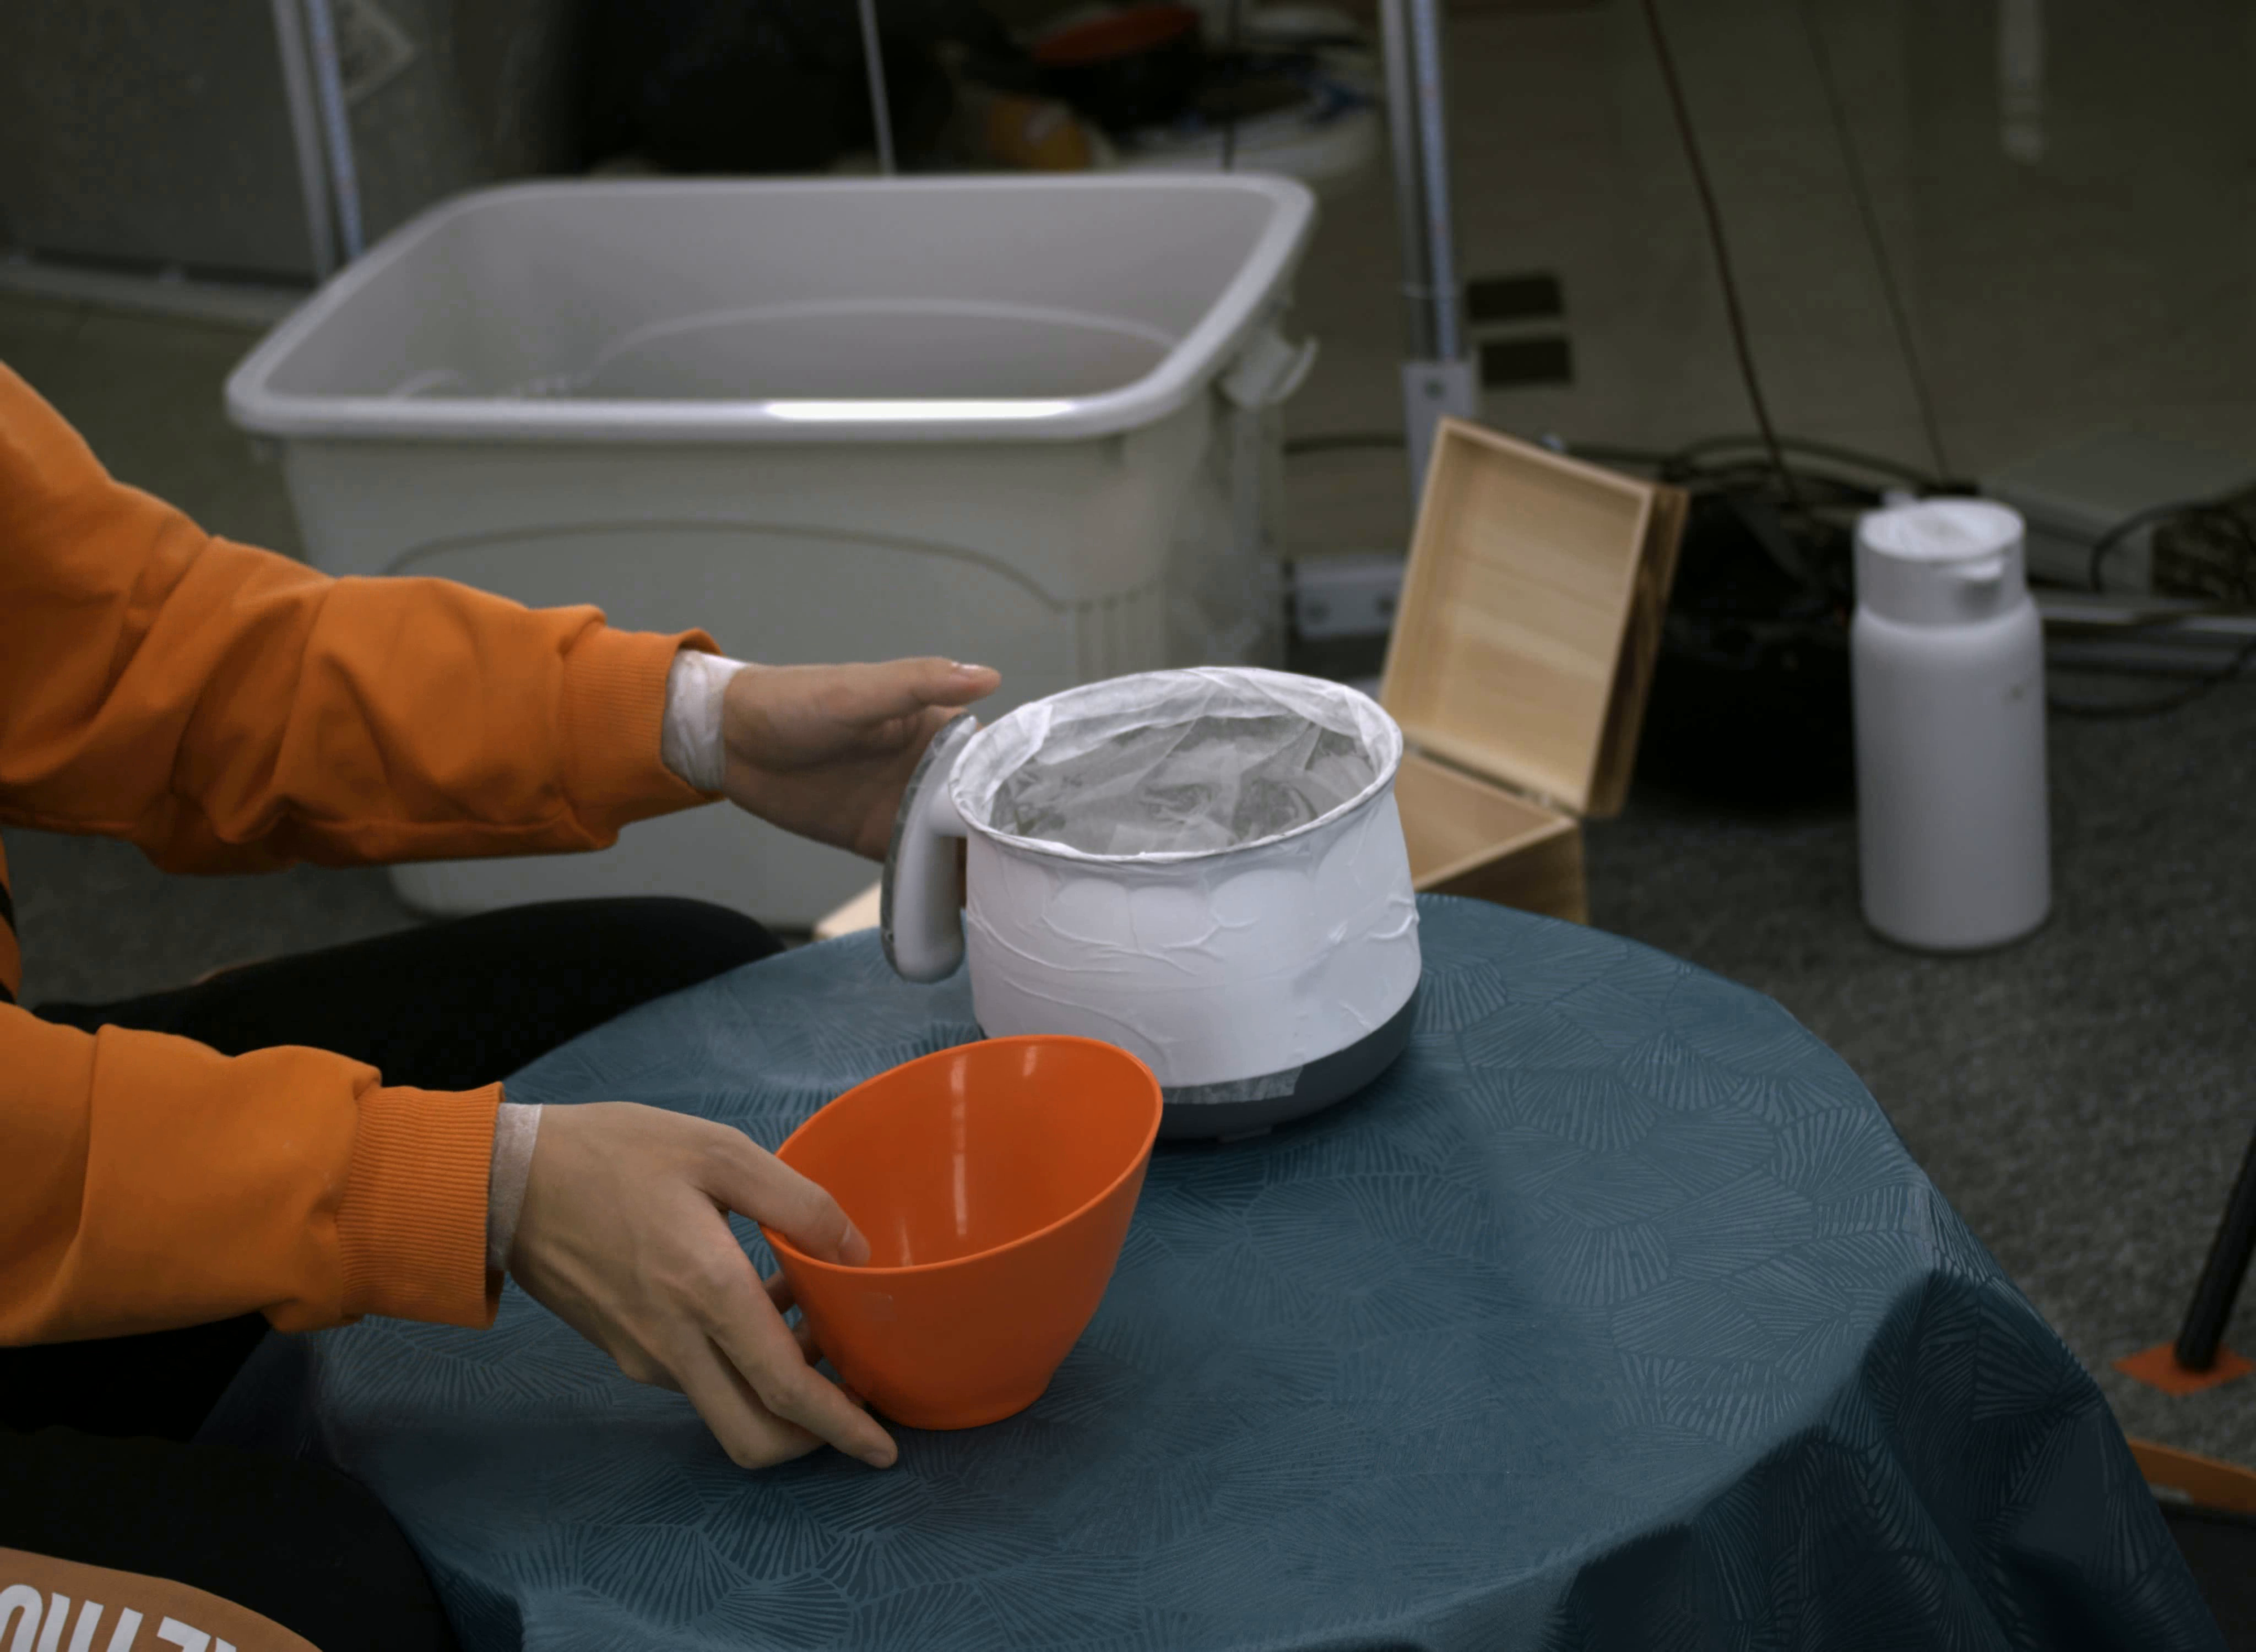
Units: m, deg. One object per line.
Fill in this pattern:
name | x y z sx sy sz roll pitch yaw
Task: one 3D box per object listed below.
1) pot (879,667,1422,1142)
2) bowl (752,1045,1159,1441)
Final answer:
pot | 0.001 0.028 2.220 0.232 0.139 0.176 10 29 30
bowl | -0.056 0.154 2.013 0.148 0.106 0.146 -6 26 3
